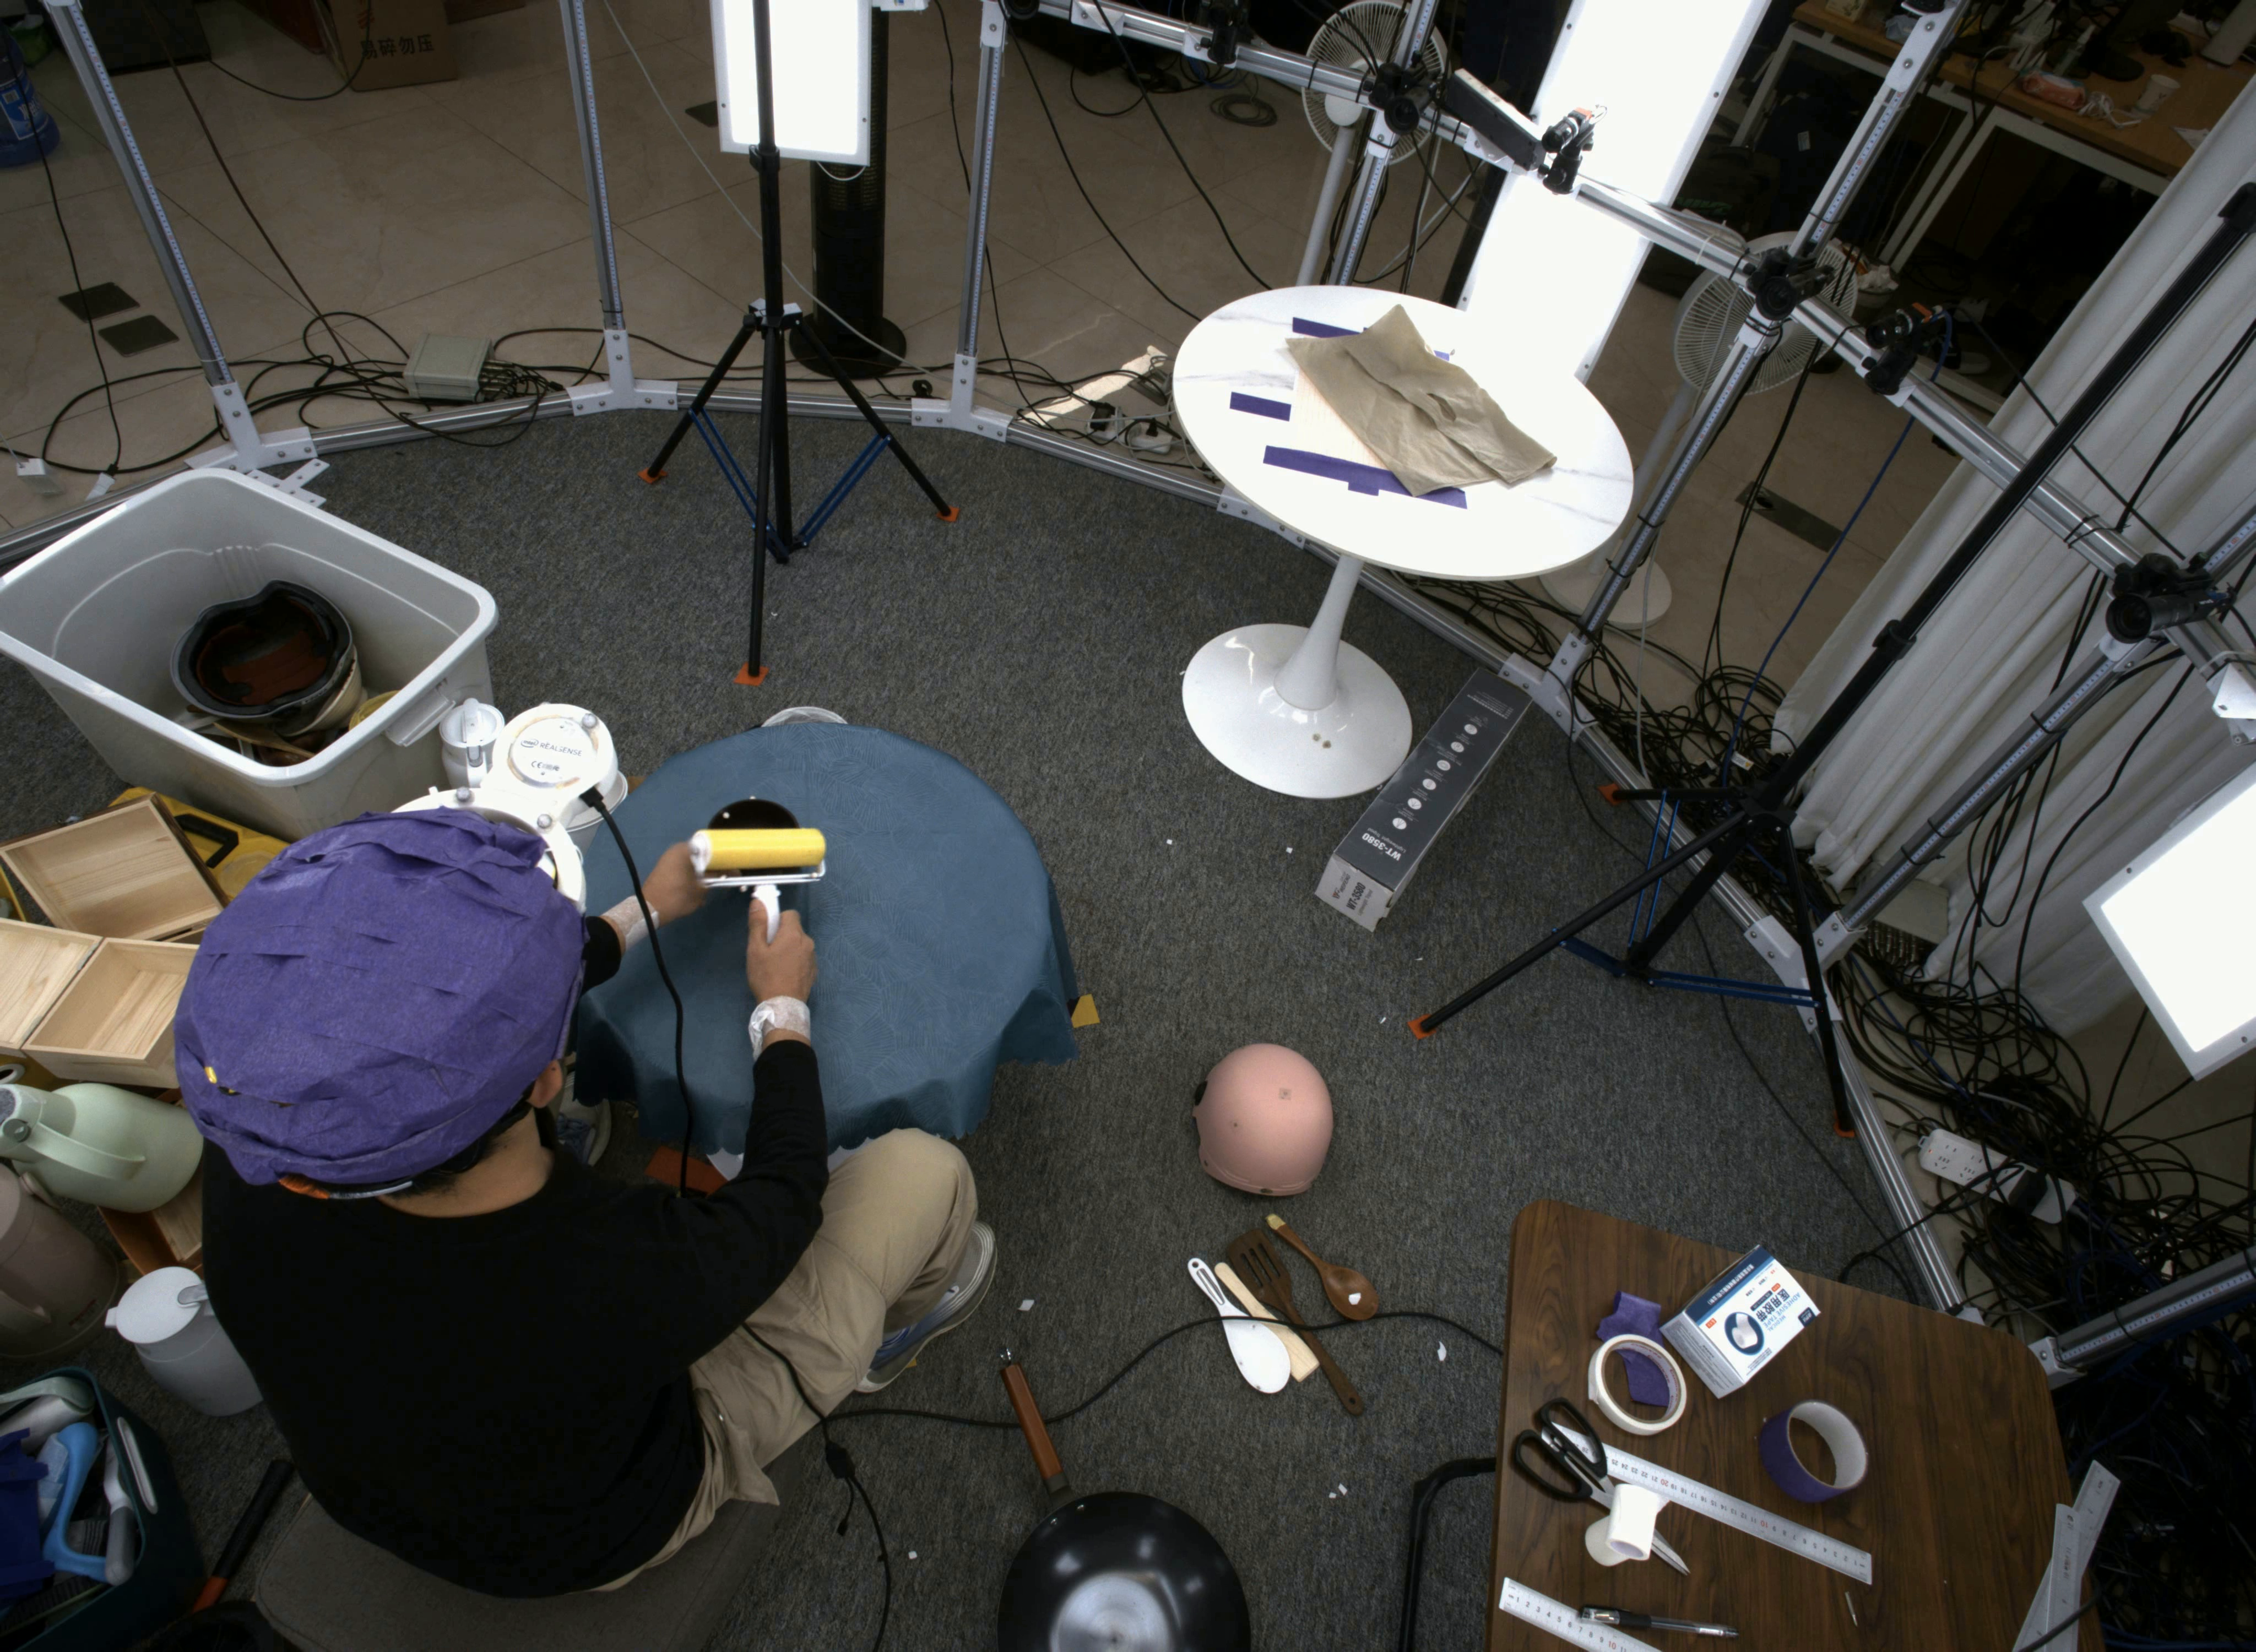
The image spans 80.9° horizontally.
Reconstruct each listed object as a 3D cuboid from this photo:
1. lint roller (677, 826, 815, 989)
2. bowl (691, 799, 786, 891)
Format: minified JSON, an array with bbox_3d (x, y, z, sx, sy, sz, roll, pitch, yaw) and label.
[{"bbox_3d":[-0.430,0.092,1.529,0.177,0.050,0.191,-5,71,-52],"label":"lint roller"},{"bbox_3d":[-0.488,0.031,1.631,0.117,0.071,0.116,7,51,-7],"label":"bowl"}]
